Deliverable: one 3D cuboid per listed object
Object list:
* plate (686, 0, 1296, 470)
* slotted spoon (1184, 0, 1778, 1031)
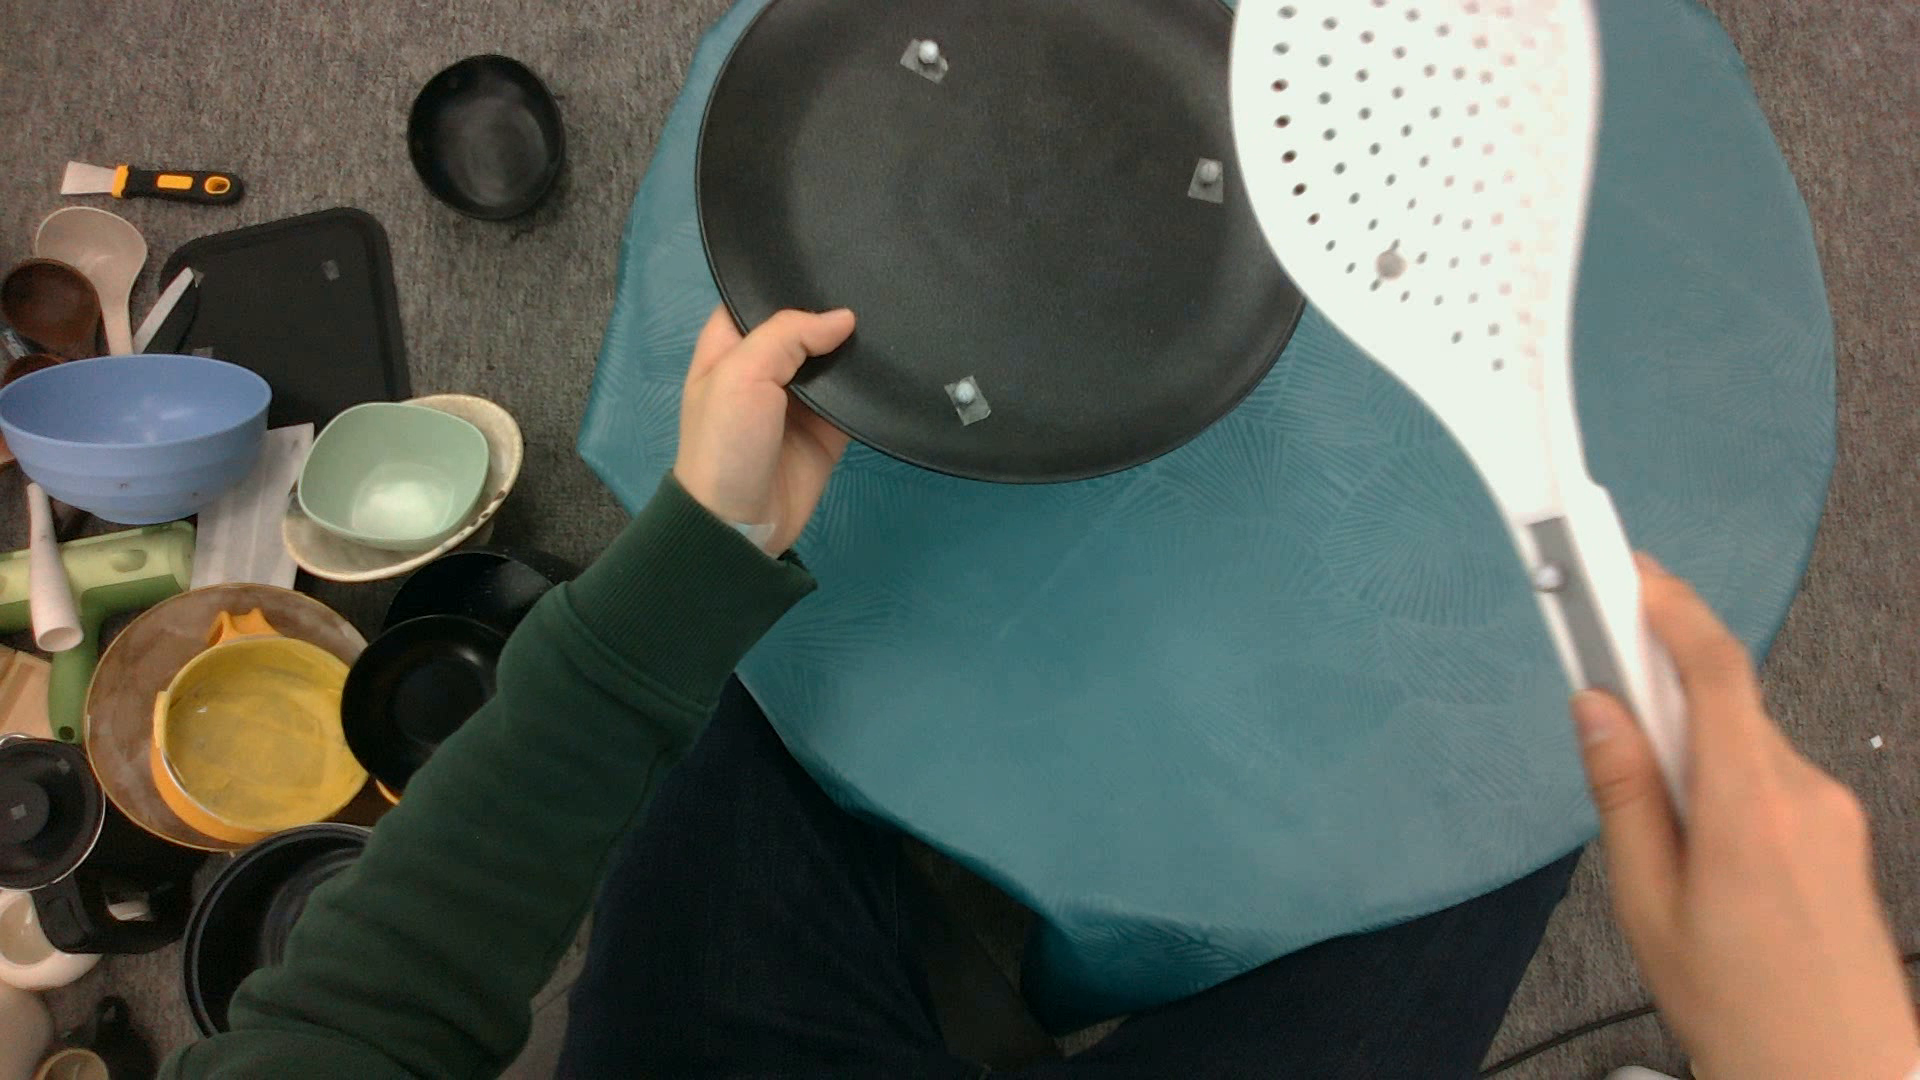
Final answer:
[{"bbox_3d":[0.016,-0.141,0.543,0.244,0.023,0.245,2,75,-6],"label":"plate"},{"bbox_3d":[0.151,-0.025,0.398,0.046,0.135,0.350,-17,85,-14],"label":"slotted spoon"}]
